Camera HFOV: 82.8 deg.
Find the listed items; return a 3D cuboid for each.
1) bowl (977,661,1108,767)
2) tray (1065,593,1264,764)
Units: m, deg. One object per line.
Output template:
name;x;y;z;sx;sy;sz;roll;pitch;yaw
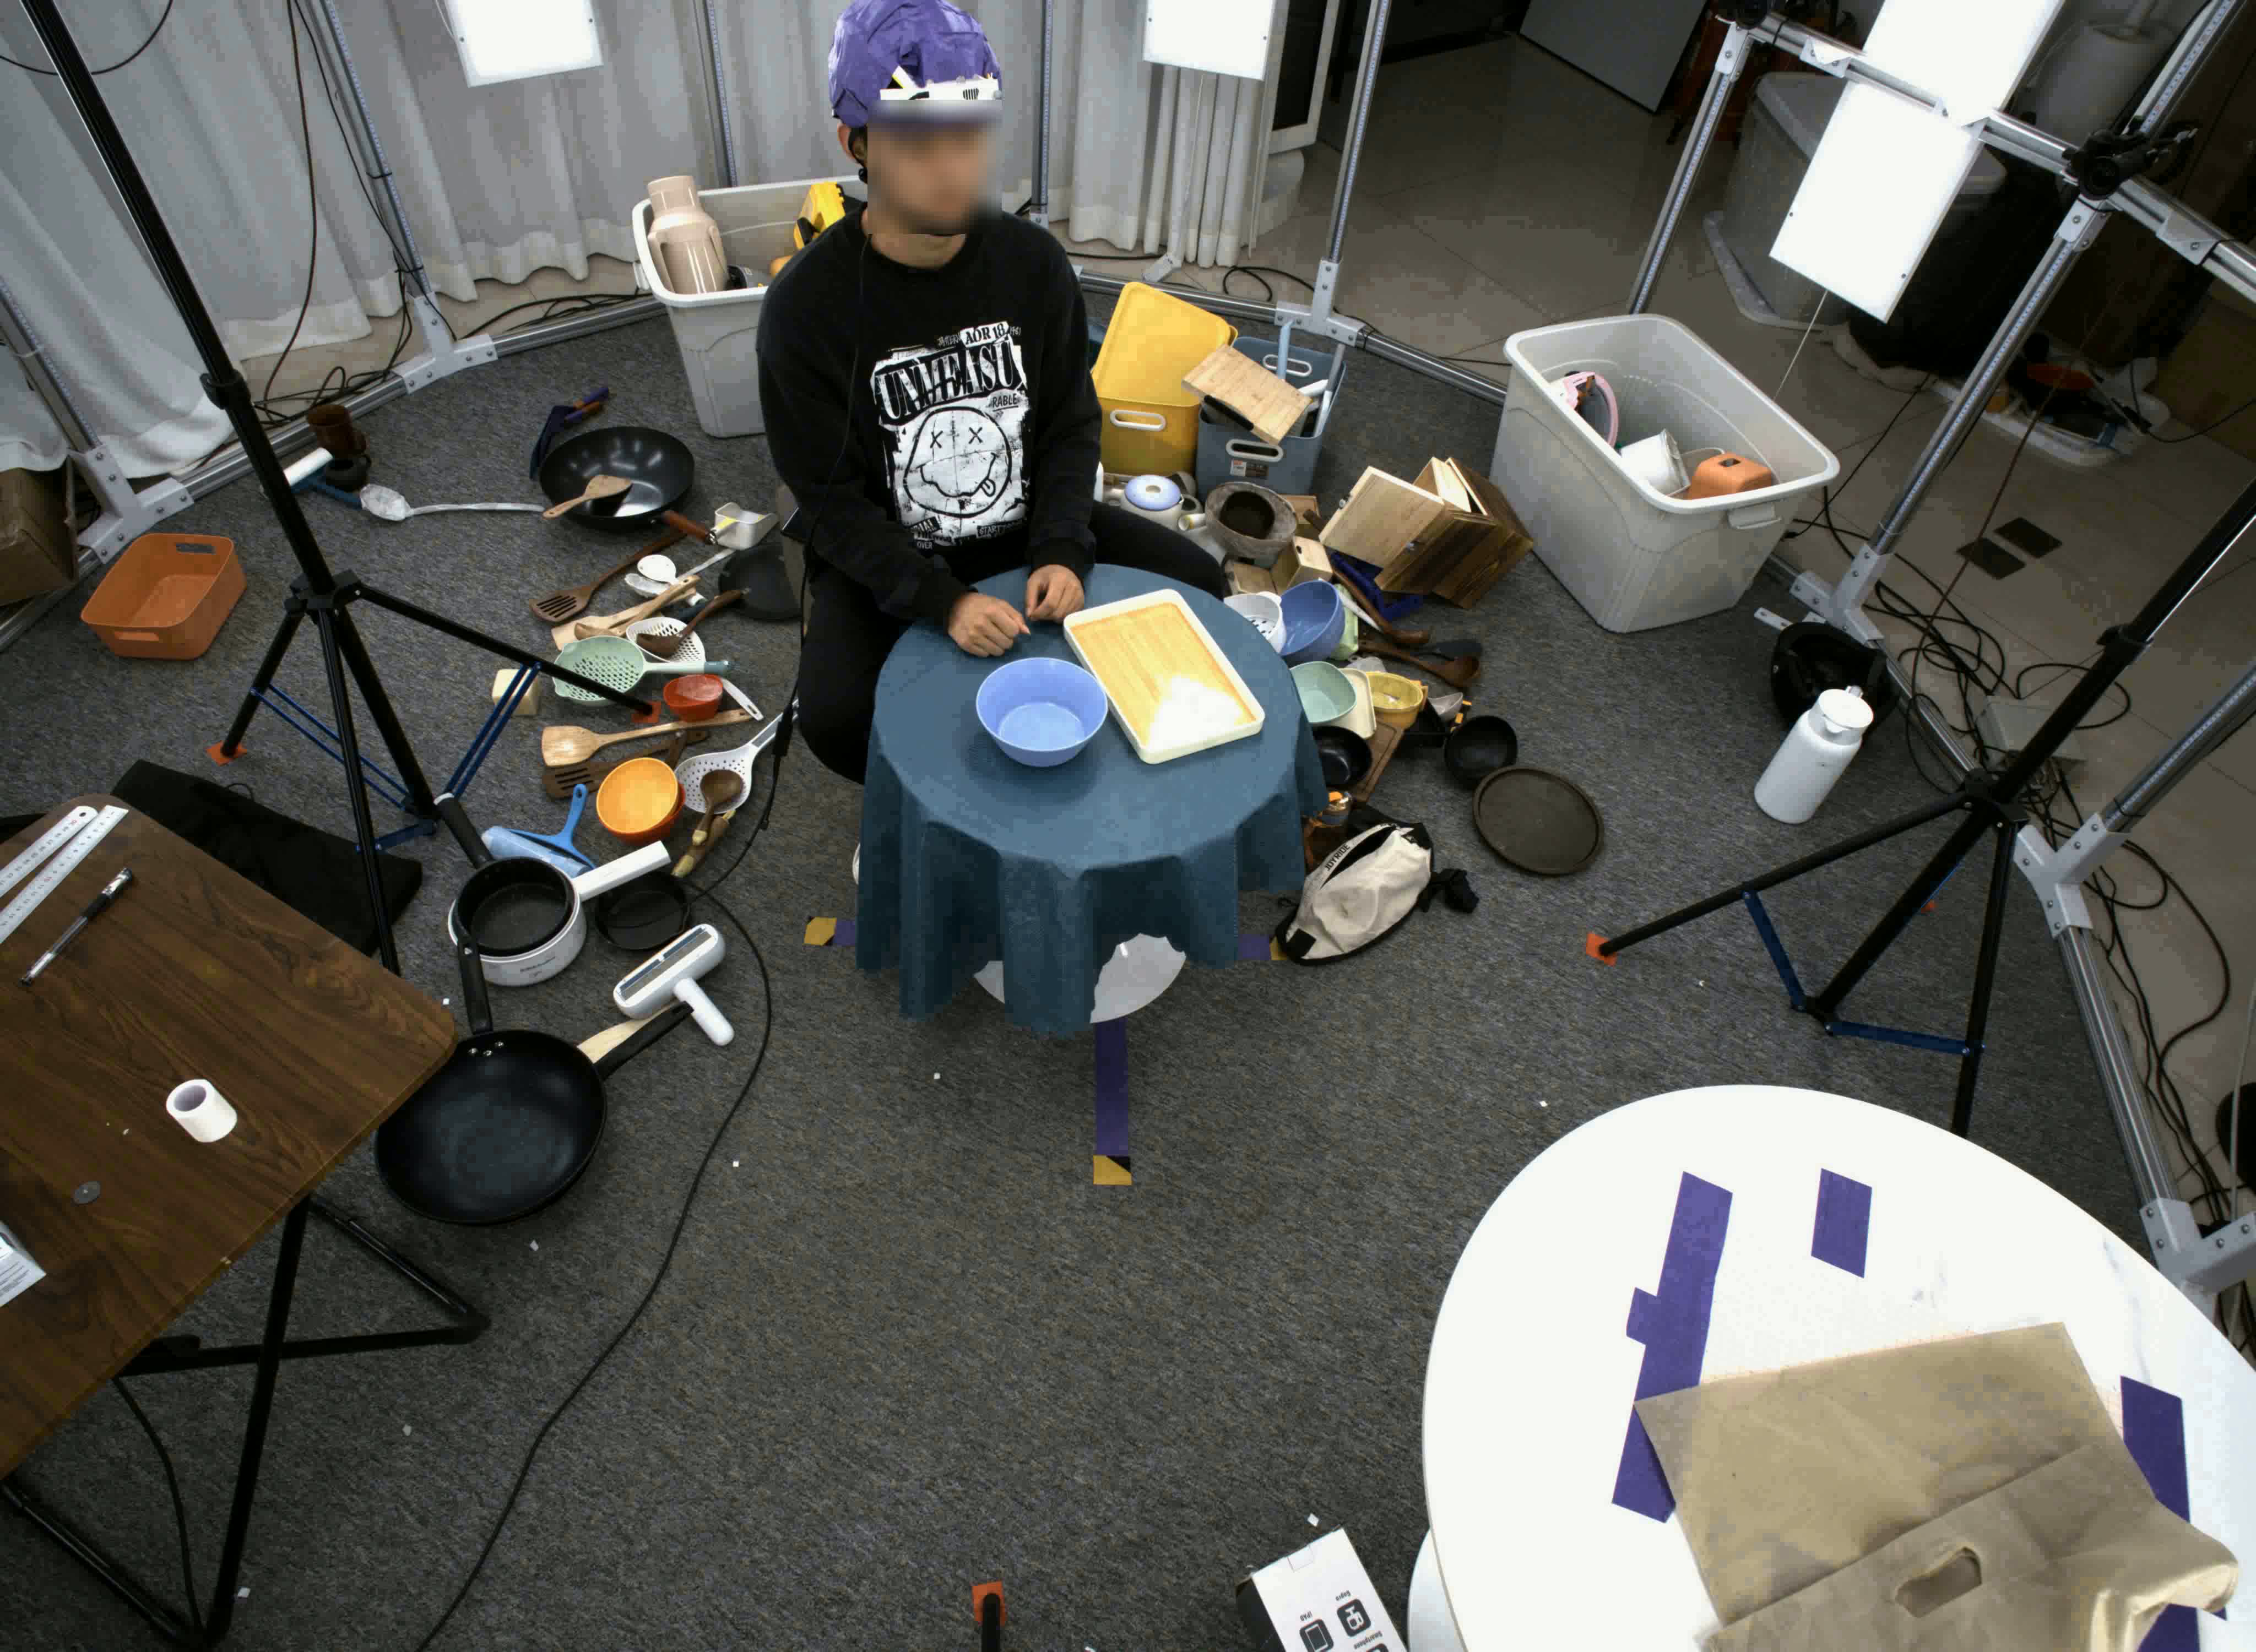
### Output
bowl;-0.118;-0.144;1.756;0.176;0.068;0.180;3;49;-3
tray;0.049;-0.220;1.862;0.192;0.027;0.307;-17;52;-18
